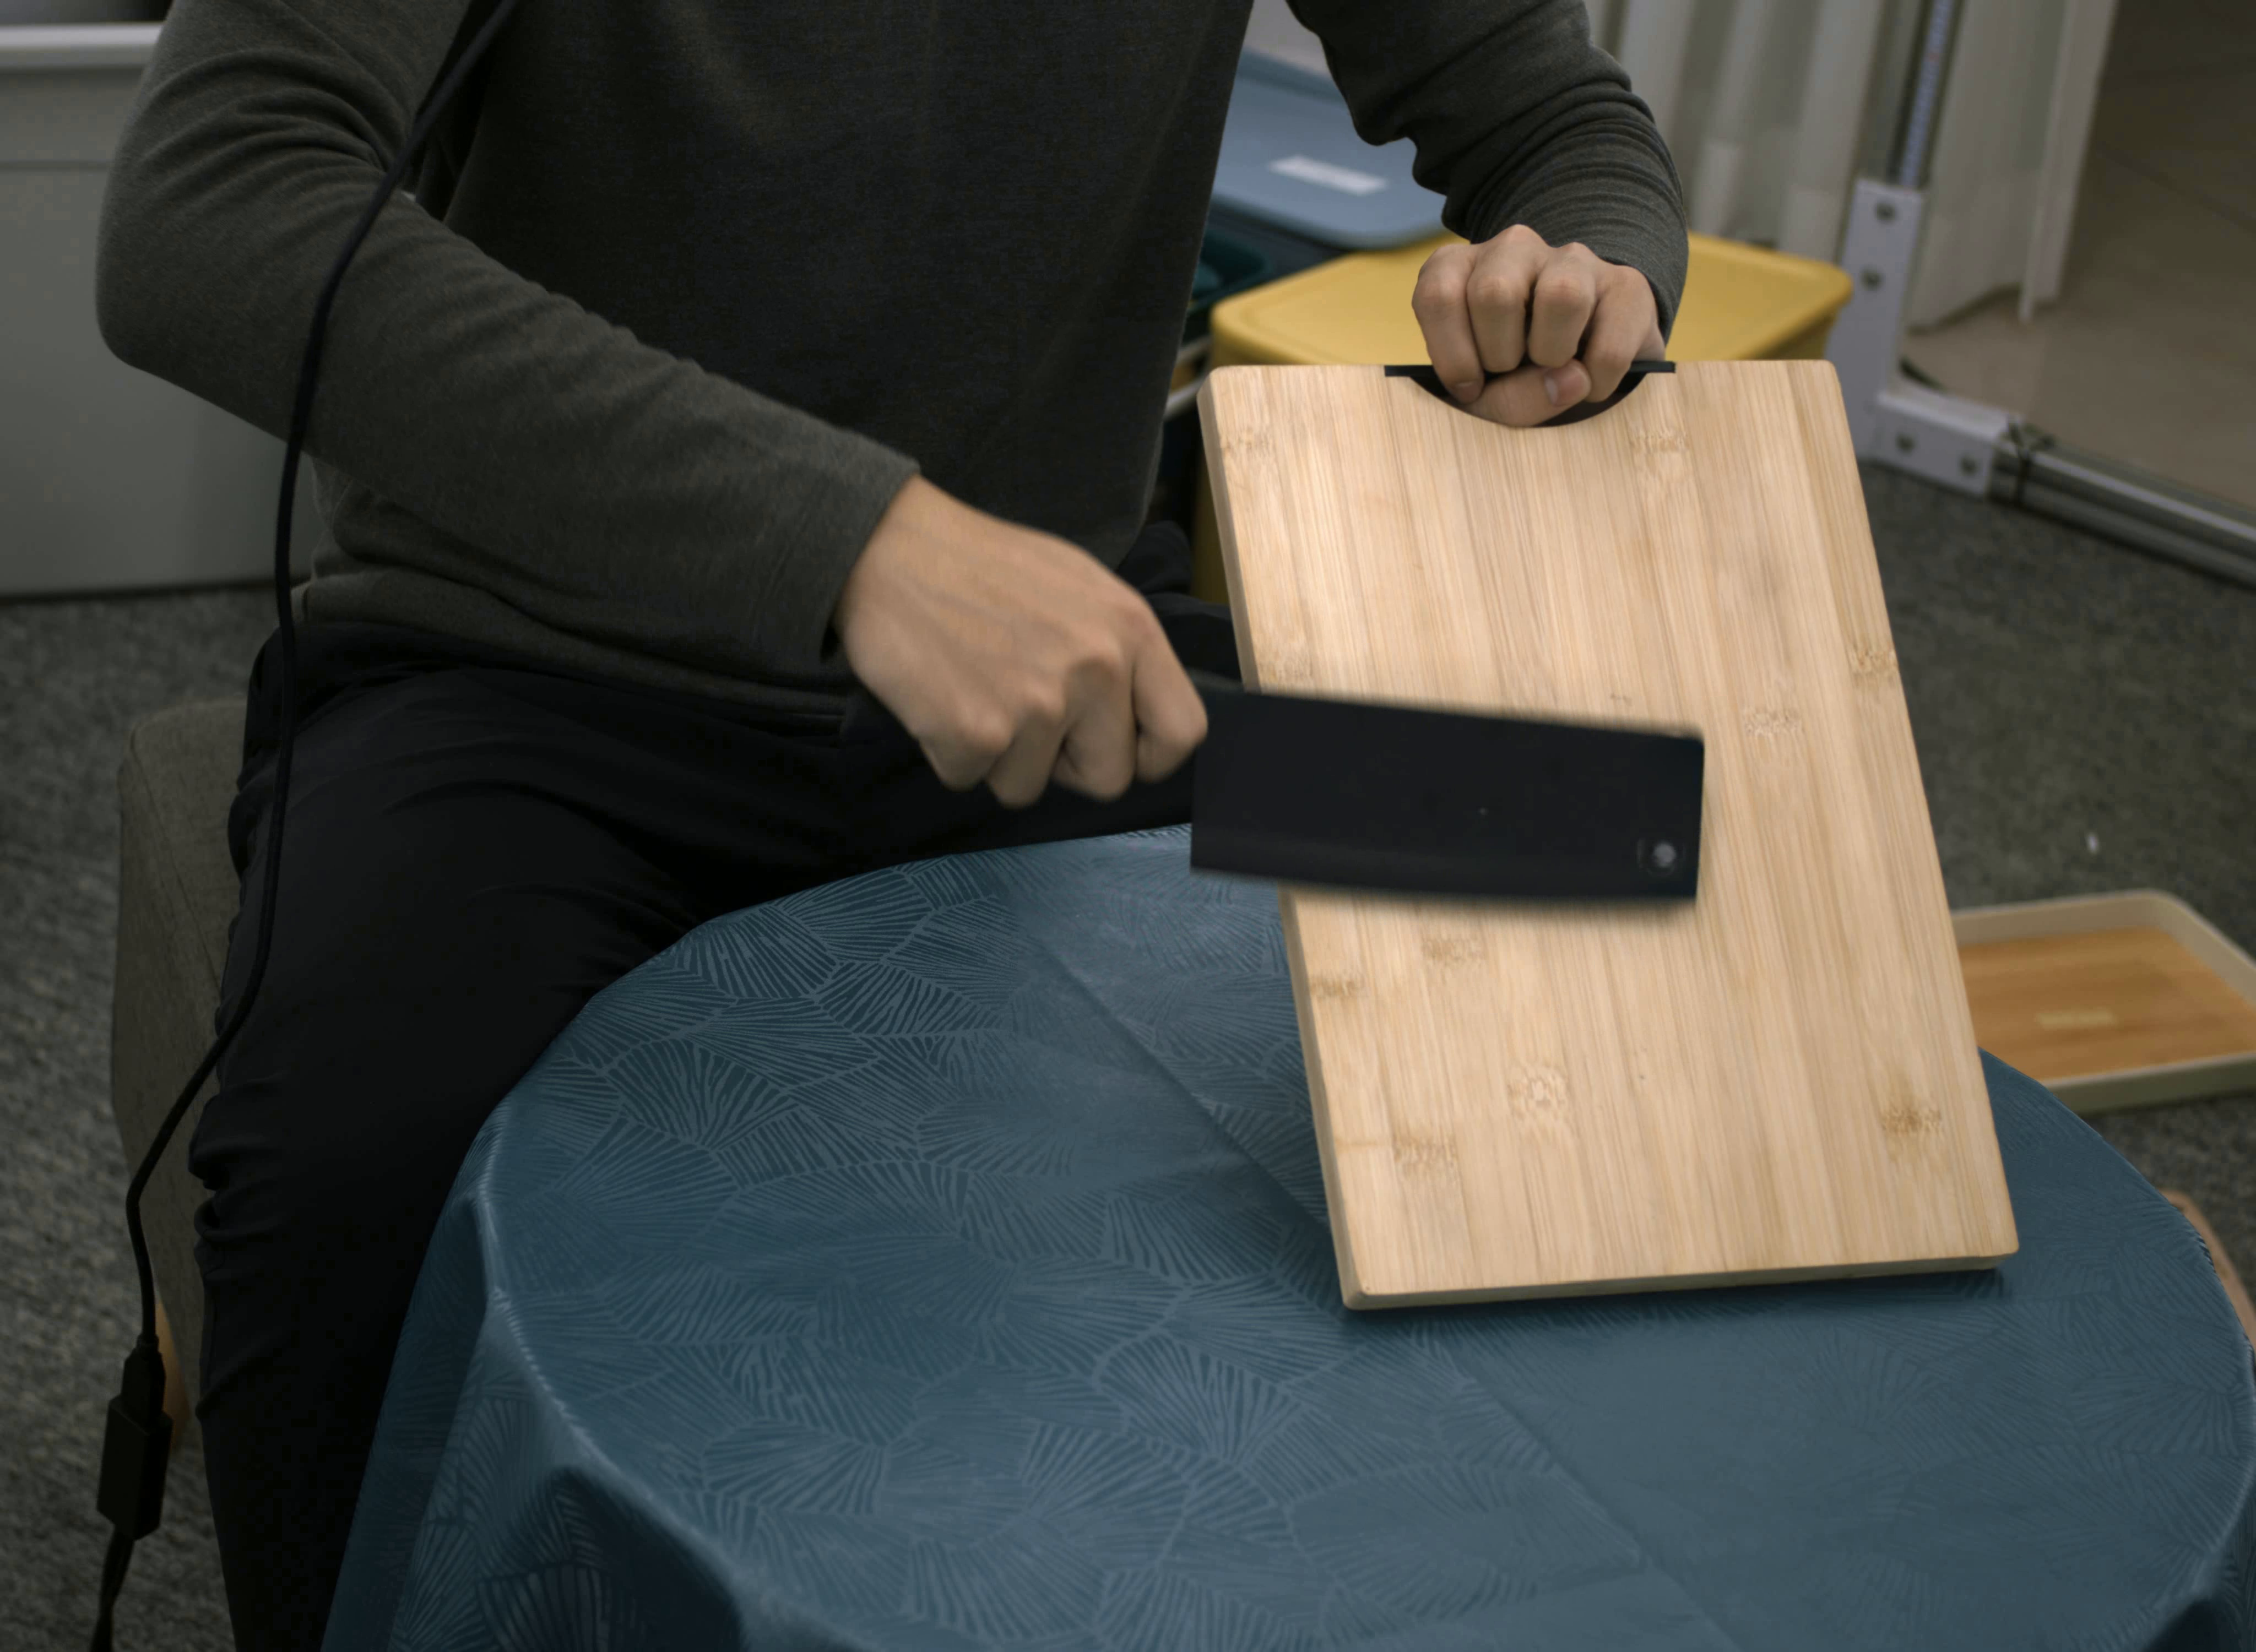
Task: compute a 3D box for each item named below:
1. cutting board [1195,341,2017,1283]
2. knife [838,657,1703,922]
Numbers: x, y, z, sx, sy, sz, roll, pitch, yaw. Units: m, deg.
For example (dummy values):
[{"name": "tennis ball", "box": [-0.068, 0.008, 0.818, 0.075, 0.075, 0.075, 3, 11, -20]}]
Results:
[{"name": "cutting board", "box": [0.162, -0.009, 1.842, 0.249, 0.023, 0.351, -2, 68, -17]}, {"name": "knife", "box": [0.051, -0.013, 1.785, 0.300, 0.081, 0.021, 10, -11, -11]}]
